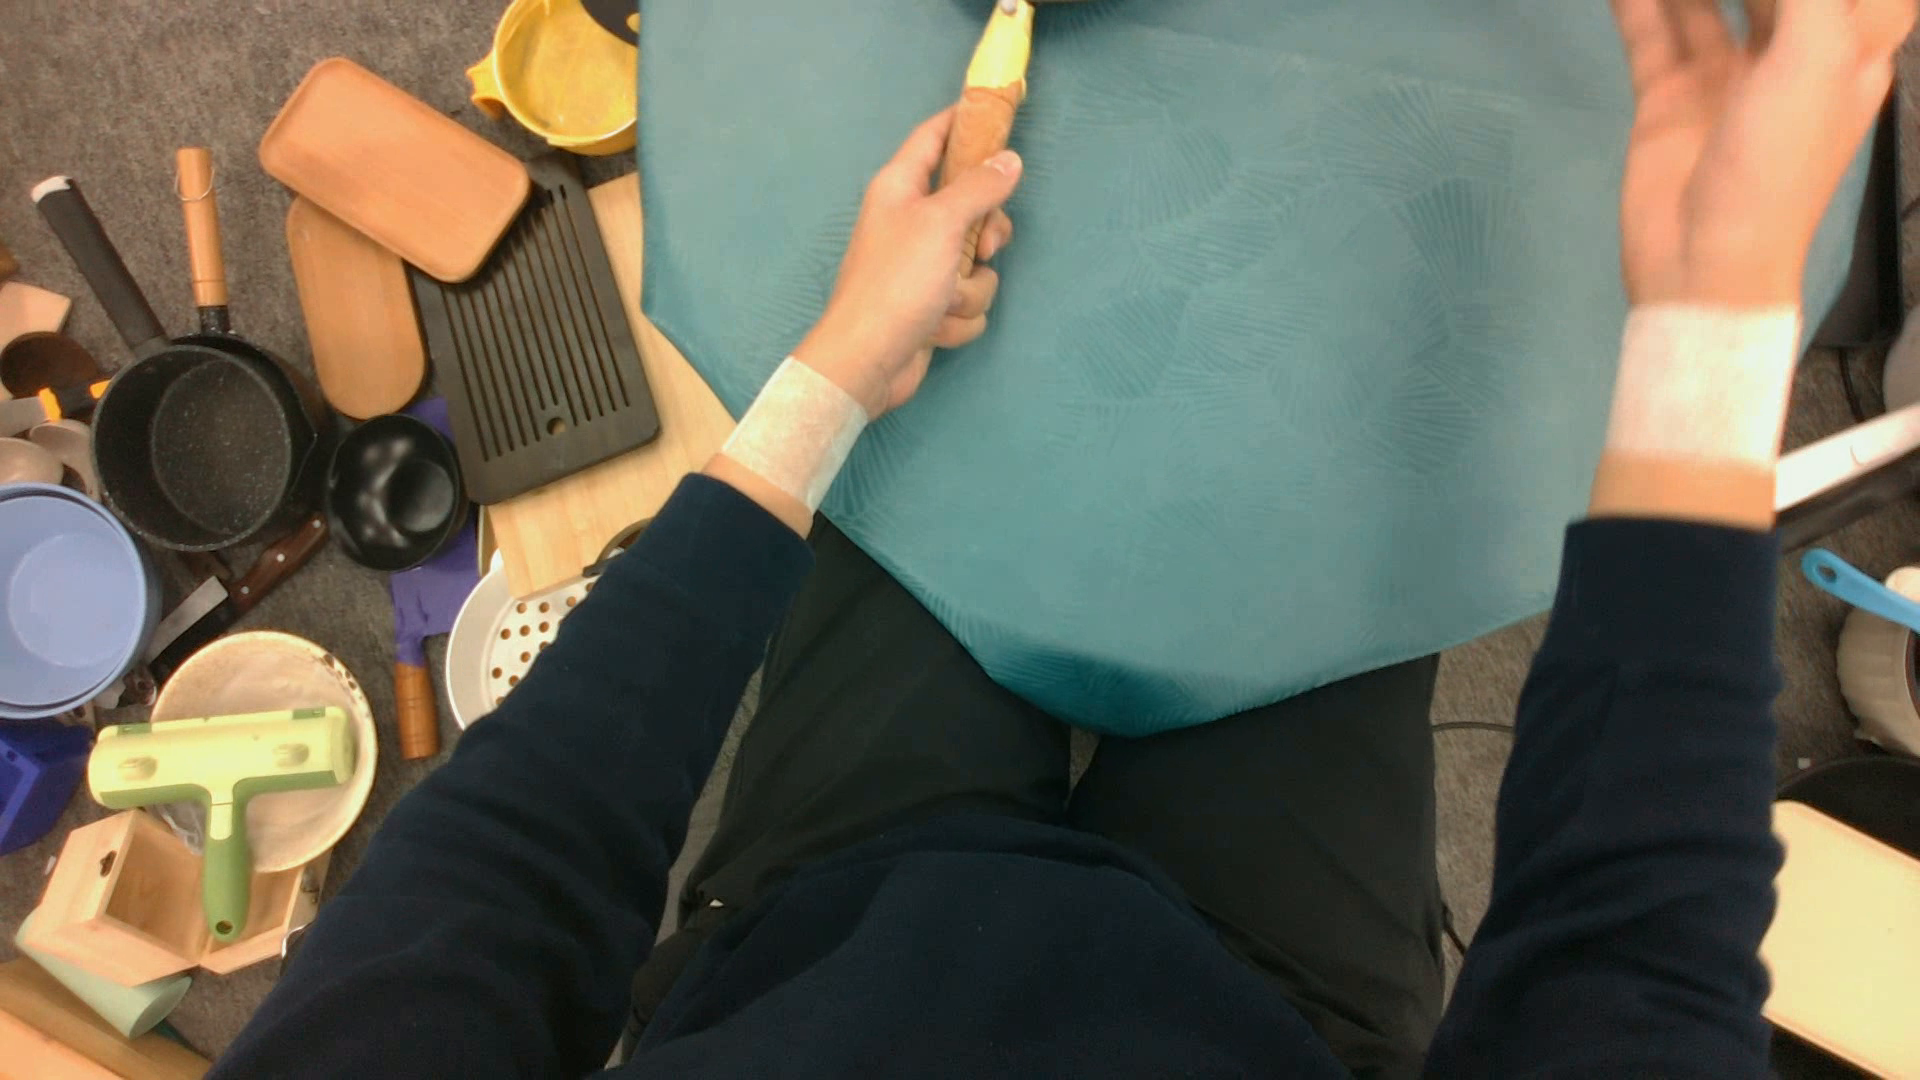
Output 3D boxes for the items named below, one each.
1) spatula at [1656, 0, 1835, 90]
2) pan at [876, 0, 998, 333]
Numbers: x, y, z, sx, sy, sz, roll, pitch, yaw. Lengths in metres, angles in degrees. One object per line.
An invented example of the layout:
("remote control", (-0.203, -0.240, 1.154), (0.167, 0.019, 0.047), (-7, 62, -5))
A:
("spatula", (0.213, -0.284, 0.551), (0.080, 0.016, 0.328), (-40, 66, 7))
("pan", (0.007, -0.253, 0.653), (0.169, 0.049, 0.324), (14, 86, 2))
